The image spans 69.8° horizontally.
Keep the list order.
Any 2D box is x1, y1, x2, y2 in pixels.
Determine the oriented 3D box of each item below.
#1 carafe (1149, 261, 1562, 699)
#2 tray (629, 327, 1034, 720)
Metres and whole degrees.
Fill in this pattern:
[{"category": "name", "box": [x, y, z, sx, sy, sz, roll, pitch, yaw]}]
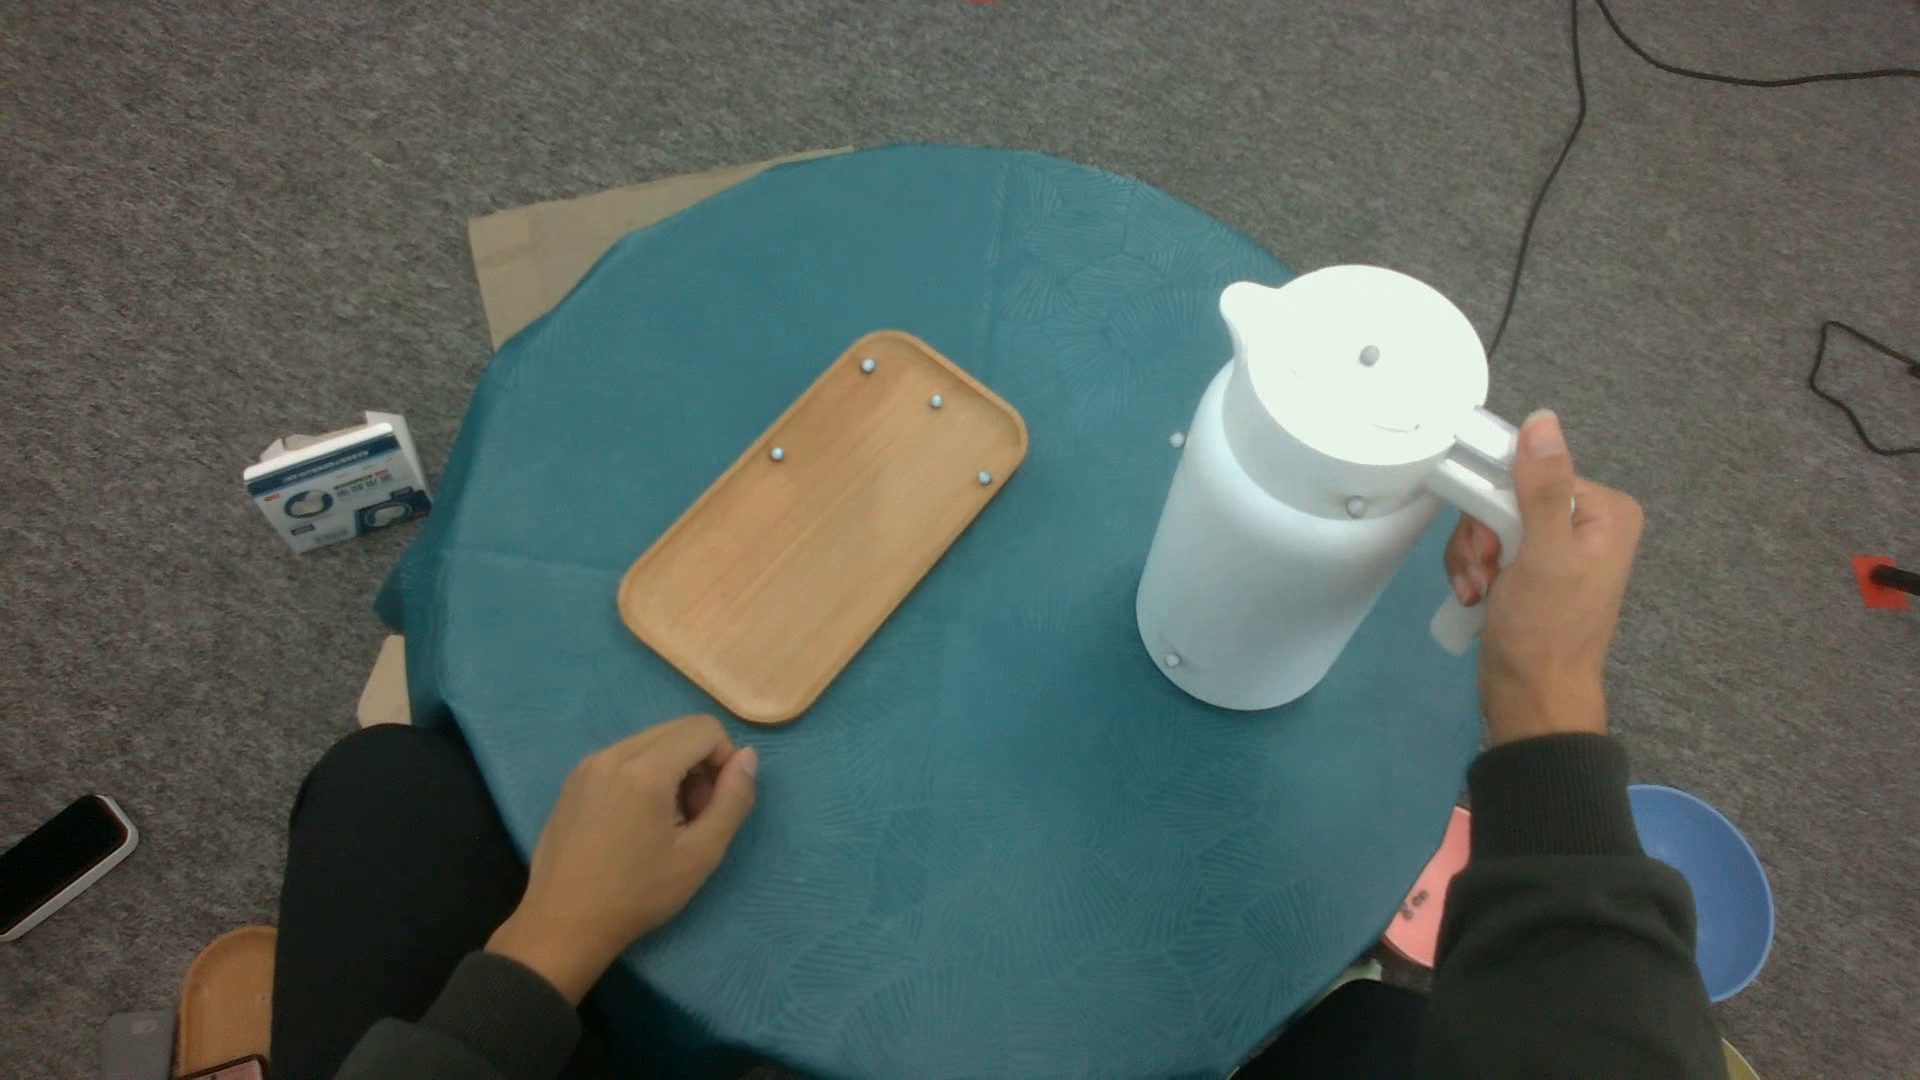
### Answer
[{"category": "carafe", "box": [0.180, -0.010, 0.685, 0.173, 0.268, 0.124, 33, 66, 16]}, {"category": "tray", "box": [-0.070, -0.016, 0.805, 0.130, 0.023, 0.251, 36, 68, 13]}]
